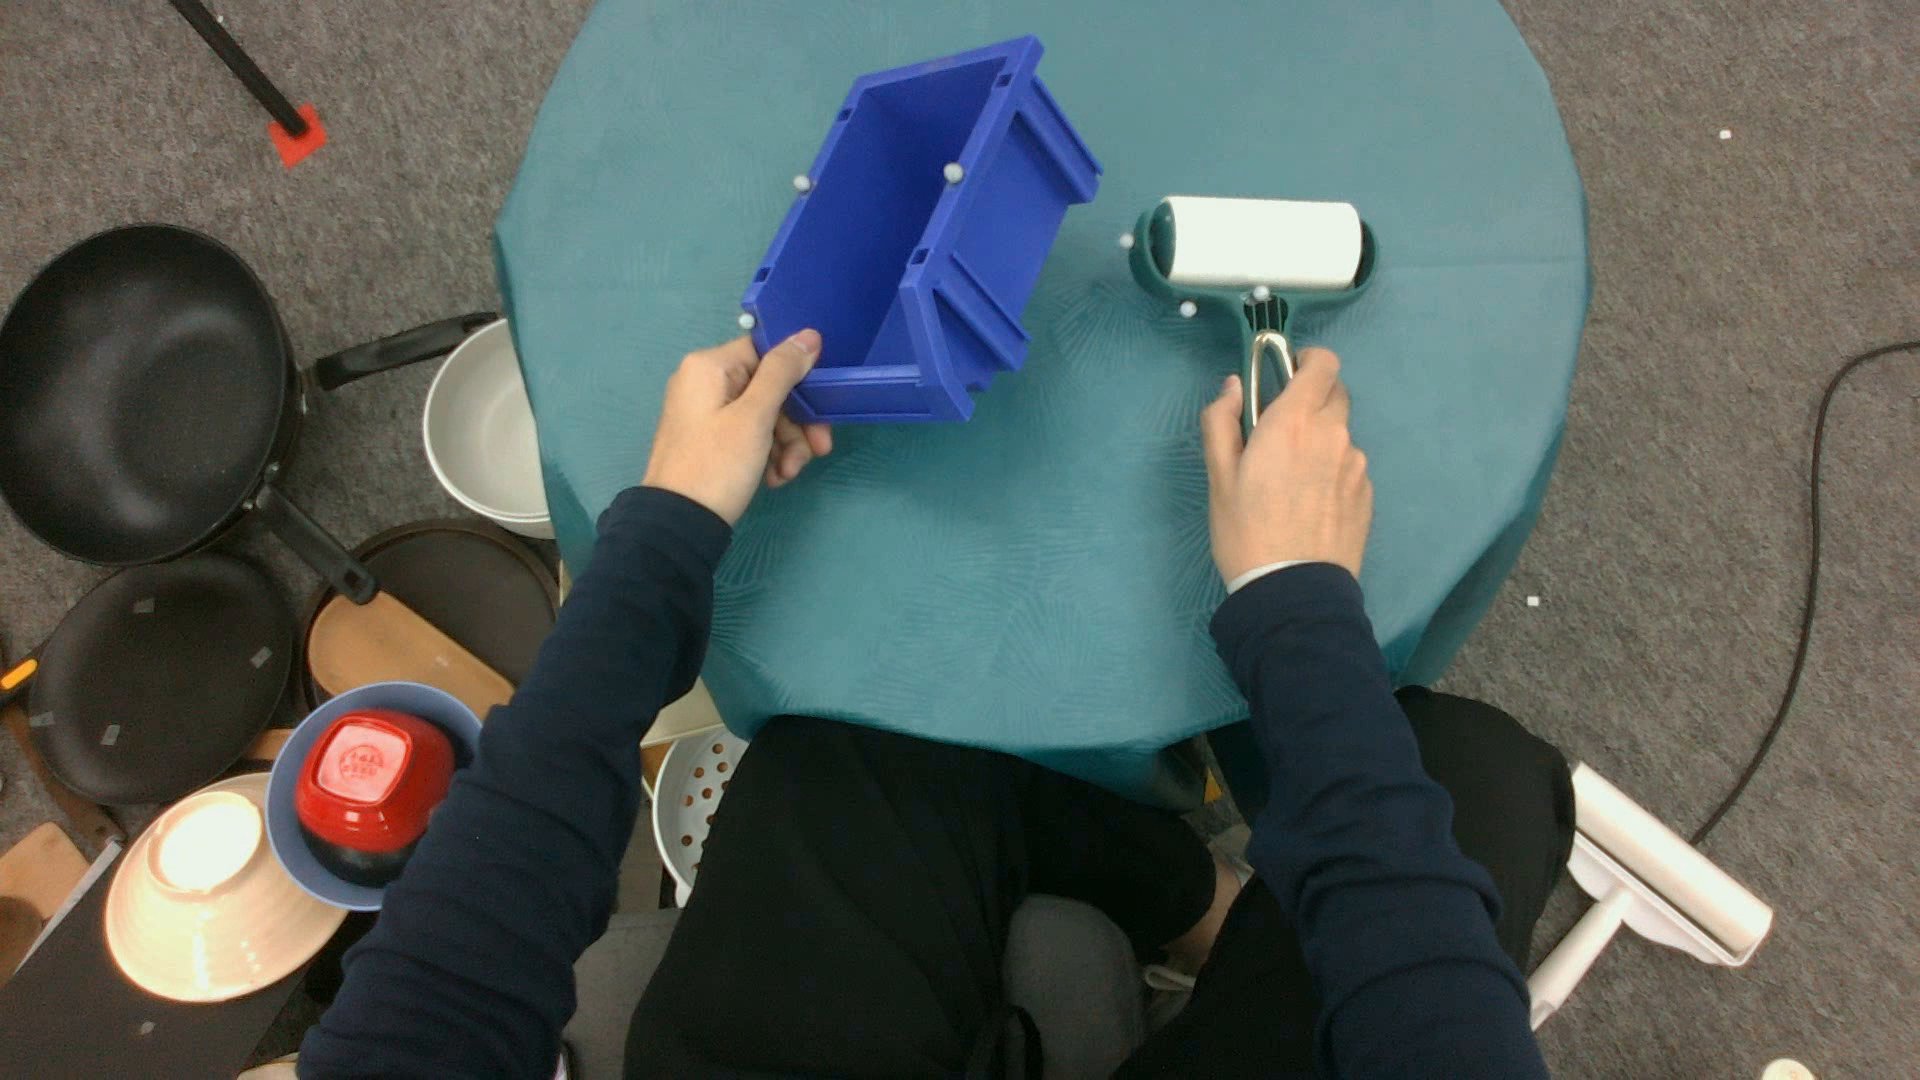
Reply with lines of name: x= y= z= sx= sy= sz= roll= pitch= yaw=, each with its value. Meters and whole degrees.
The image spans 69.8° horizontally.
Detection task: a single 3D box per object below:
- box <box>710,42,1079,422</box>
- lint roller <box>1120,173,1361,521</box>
box: x=-0.033 y=-0.145 z=0.680 sx=0.124 sy=0.082 sz=0.180 roll=5 pitch=60 yaw=40
lint roller: x=0.153 y=-0.101 z=0.702 sx=0.134 sy=0.048 sz=0.180 roll=2 pitch=68 yaw=-19
